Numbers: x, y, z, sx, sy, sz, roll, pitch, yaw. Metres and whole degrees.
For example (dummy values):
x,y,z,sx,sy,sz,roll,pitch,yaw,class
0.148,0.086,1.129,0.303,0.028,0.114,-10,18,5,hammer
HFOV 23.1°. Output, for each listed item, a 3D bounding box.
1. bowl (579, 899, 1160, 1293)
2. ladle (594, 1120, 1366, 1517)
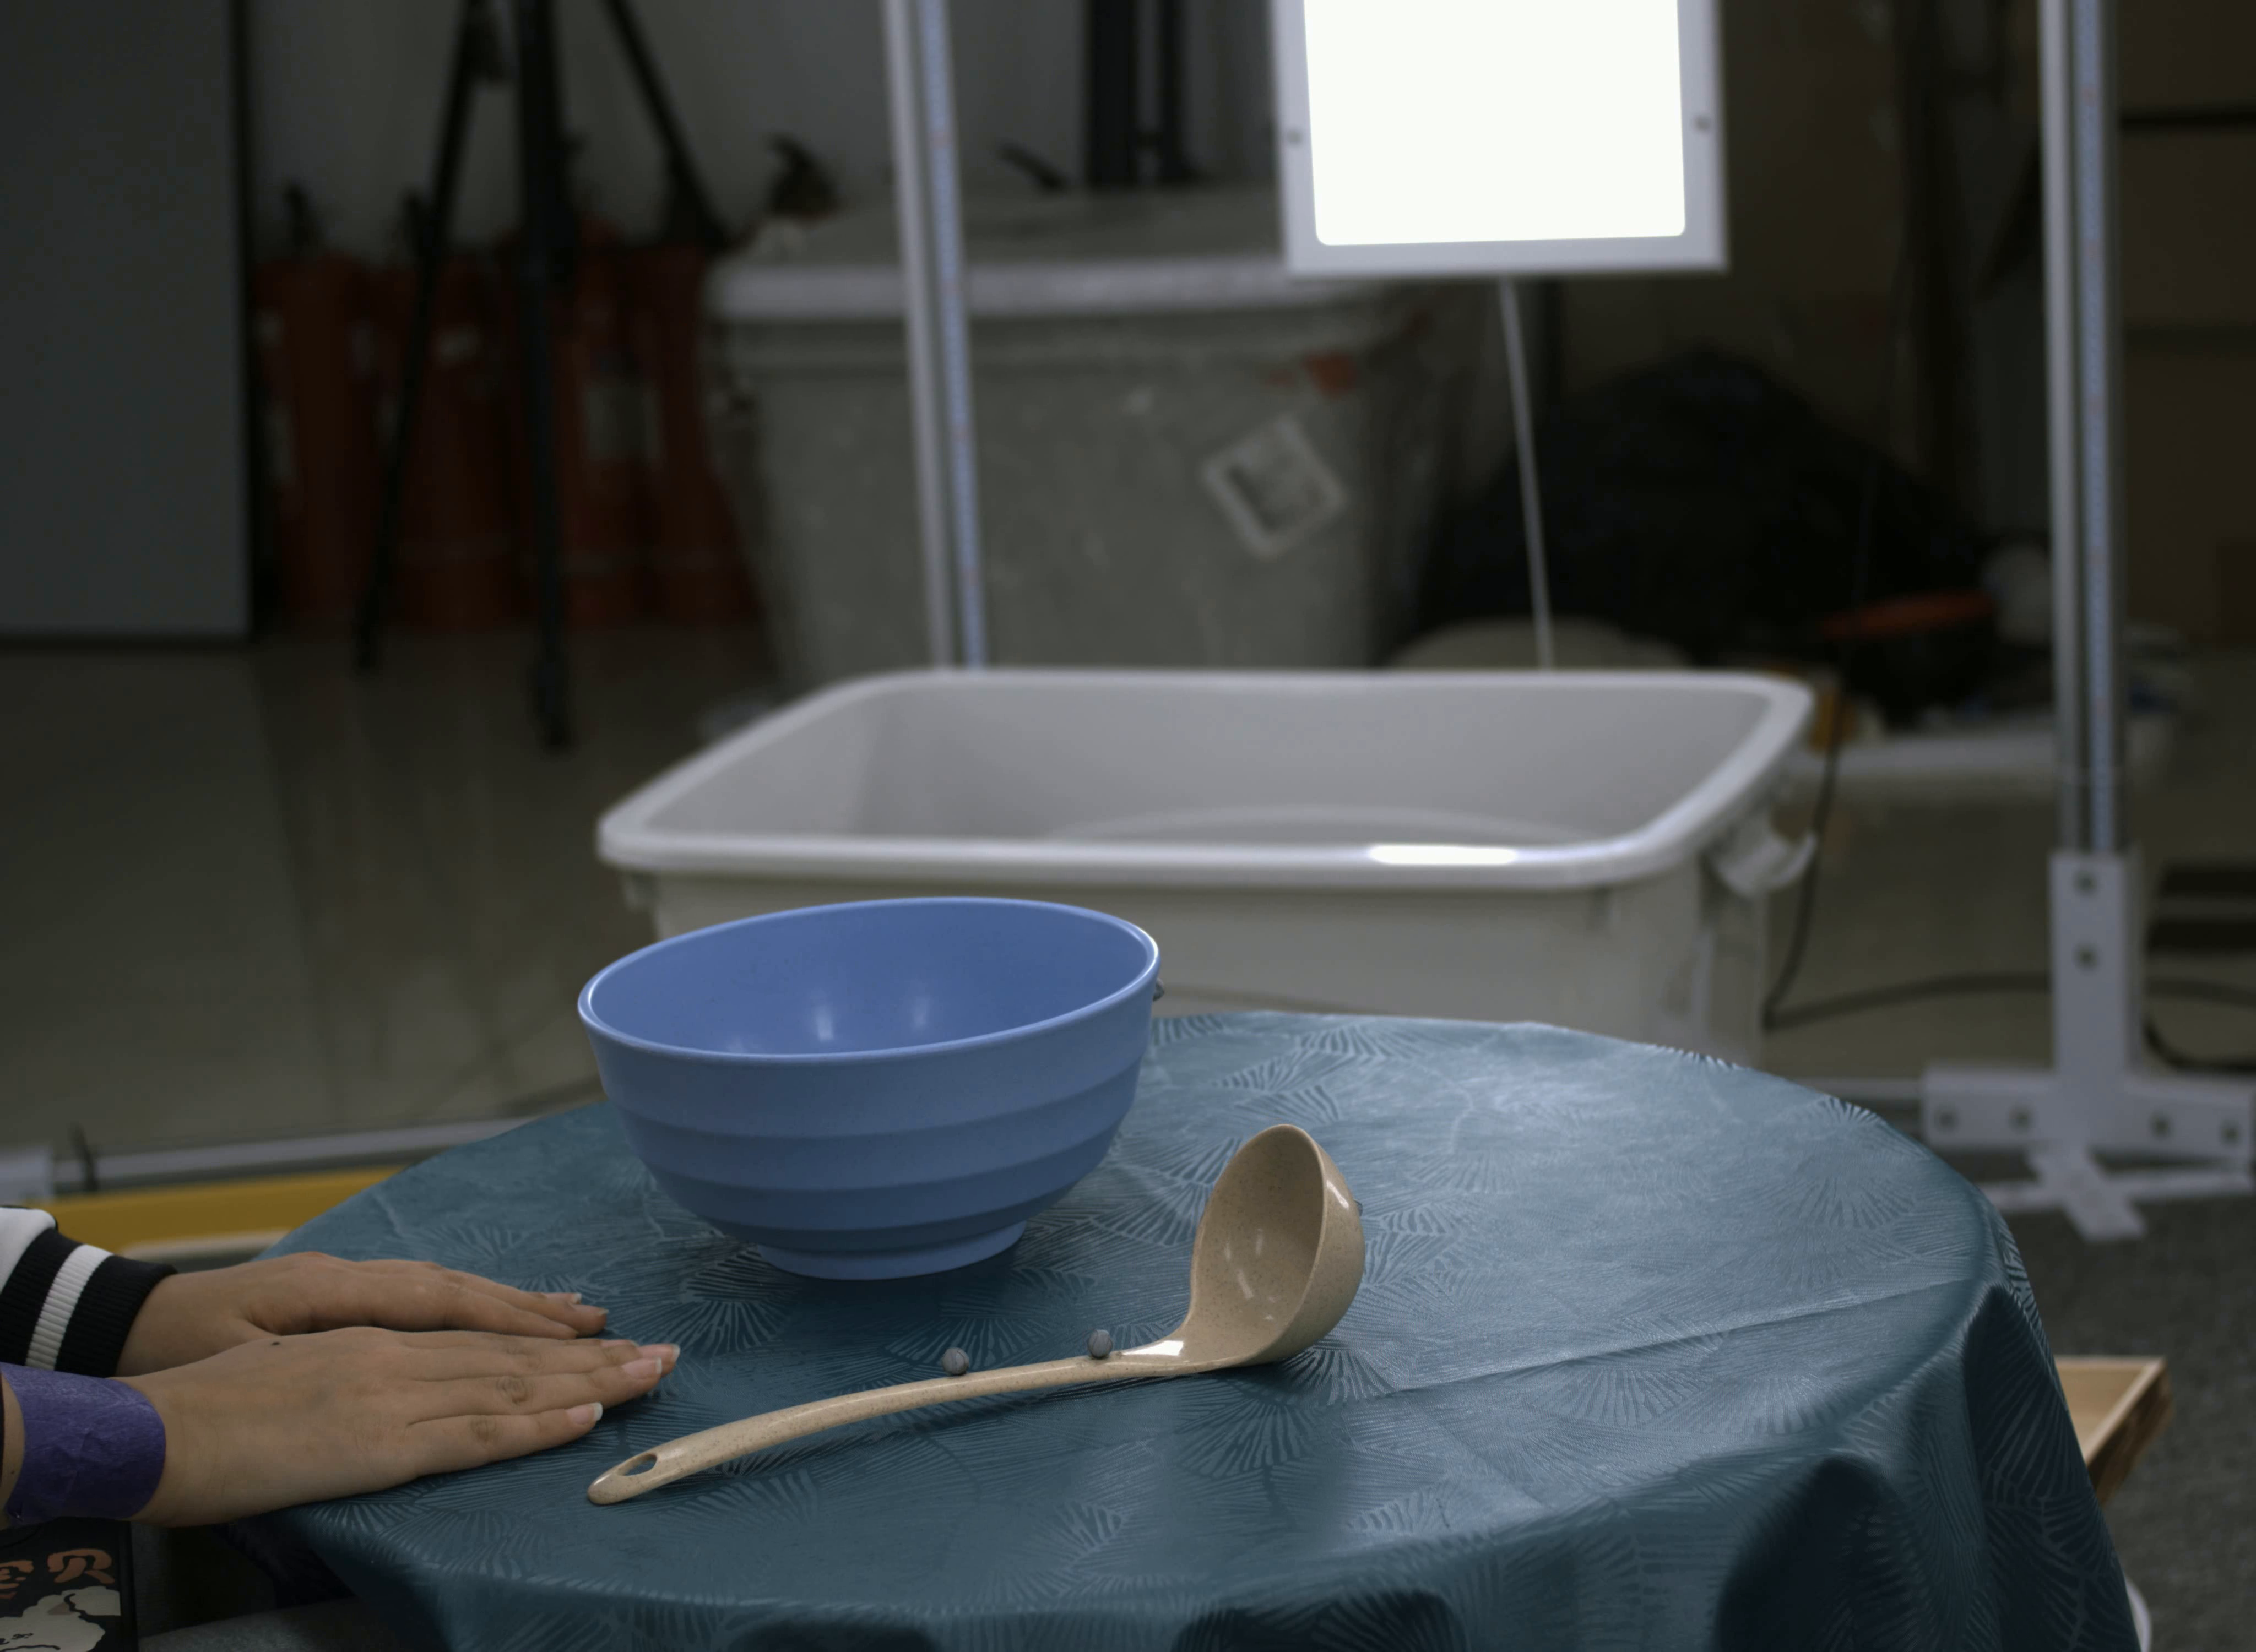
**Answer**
x,y,z,sx,sy,sz,roll,pitch,yaw,class
-0.083,0.098,1.862,0.196,0.096,0.196,-5,15,0,bowl
-0.046,0.147,1.679,0.249,0.073,0.073,-11,21,-22,ladle
